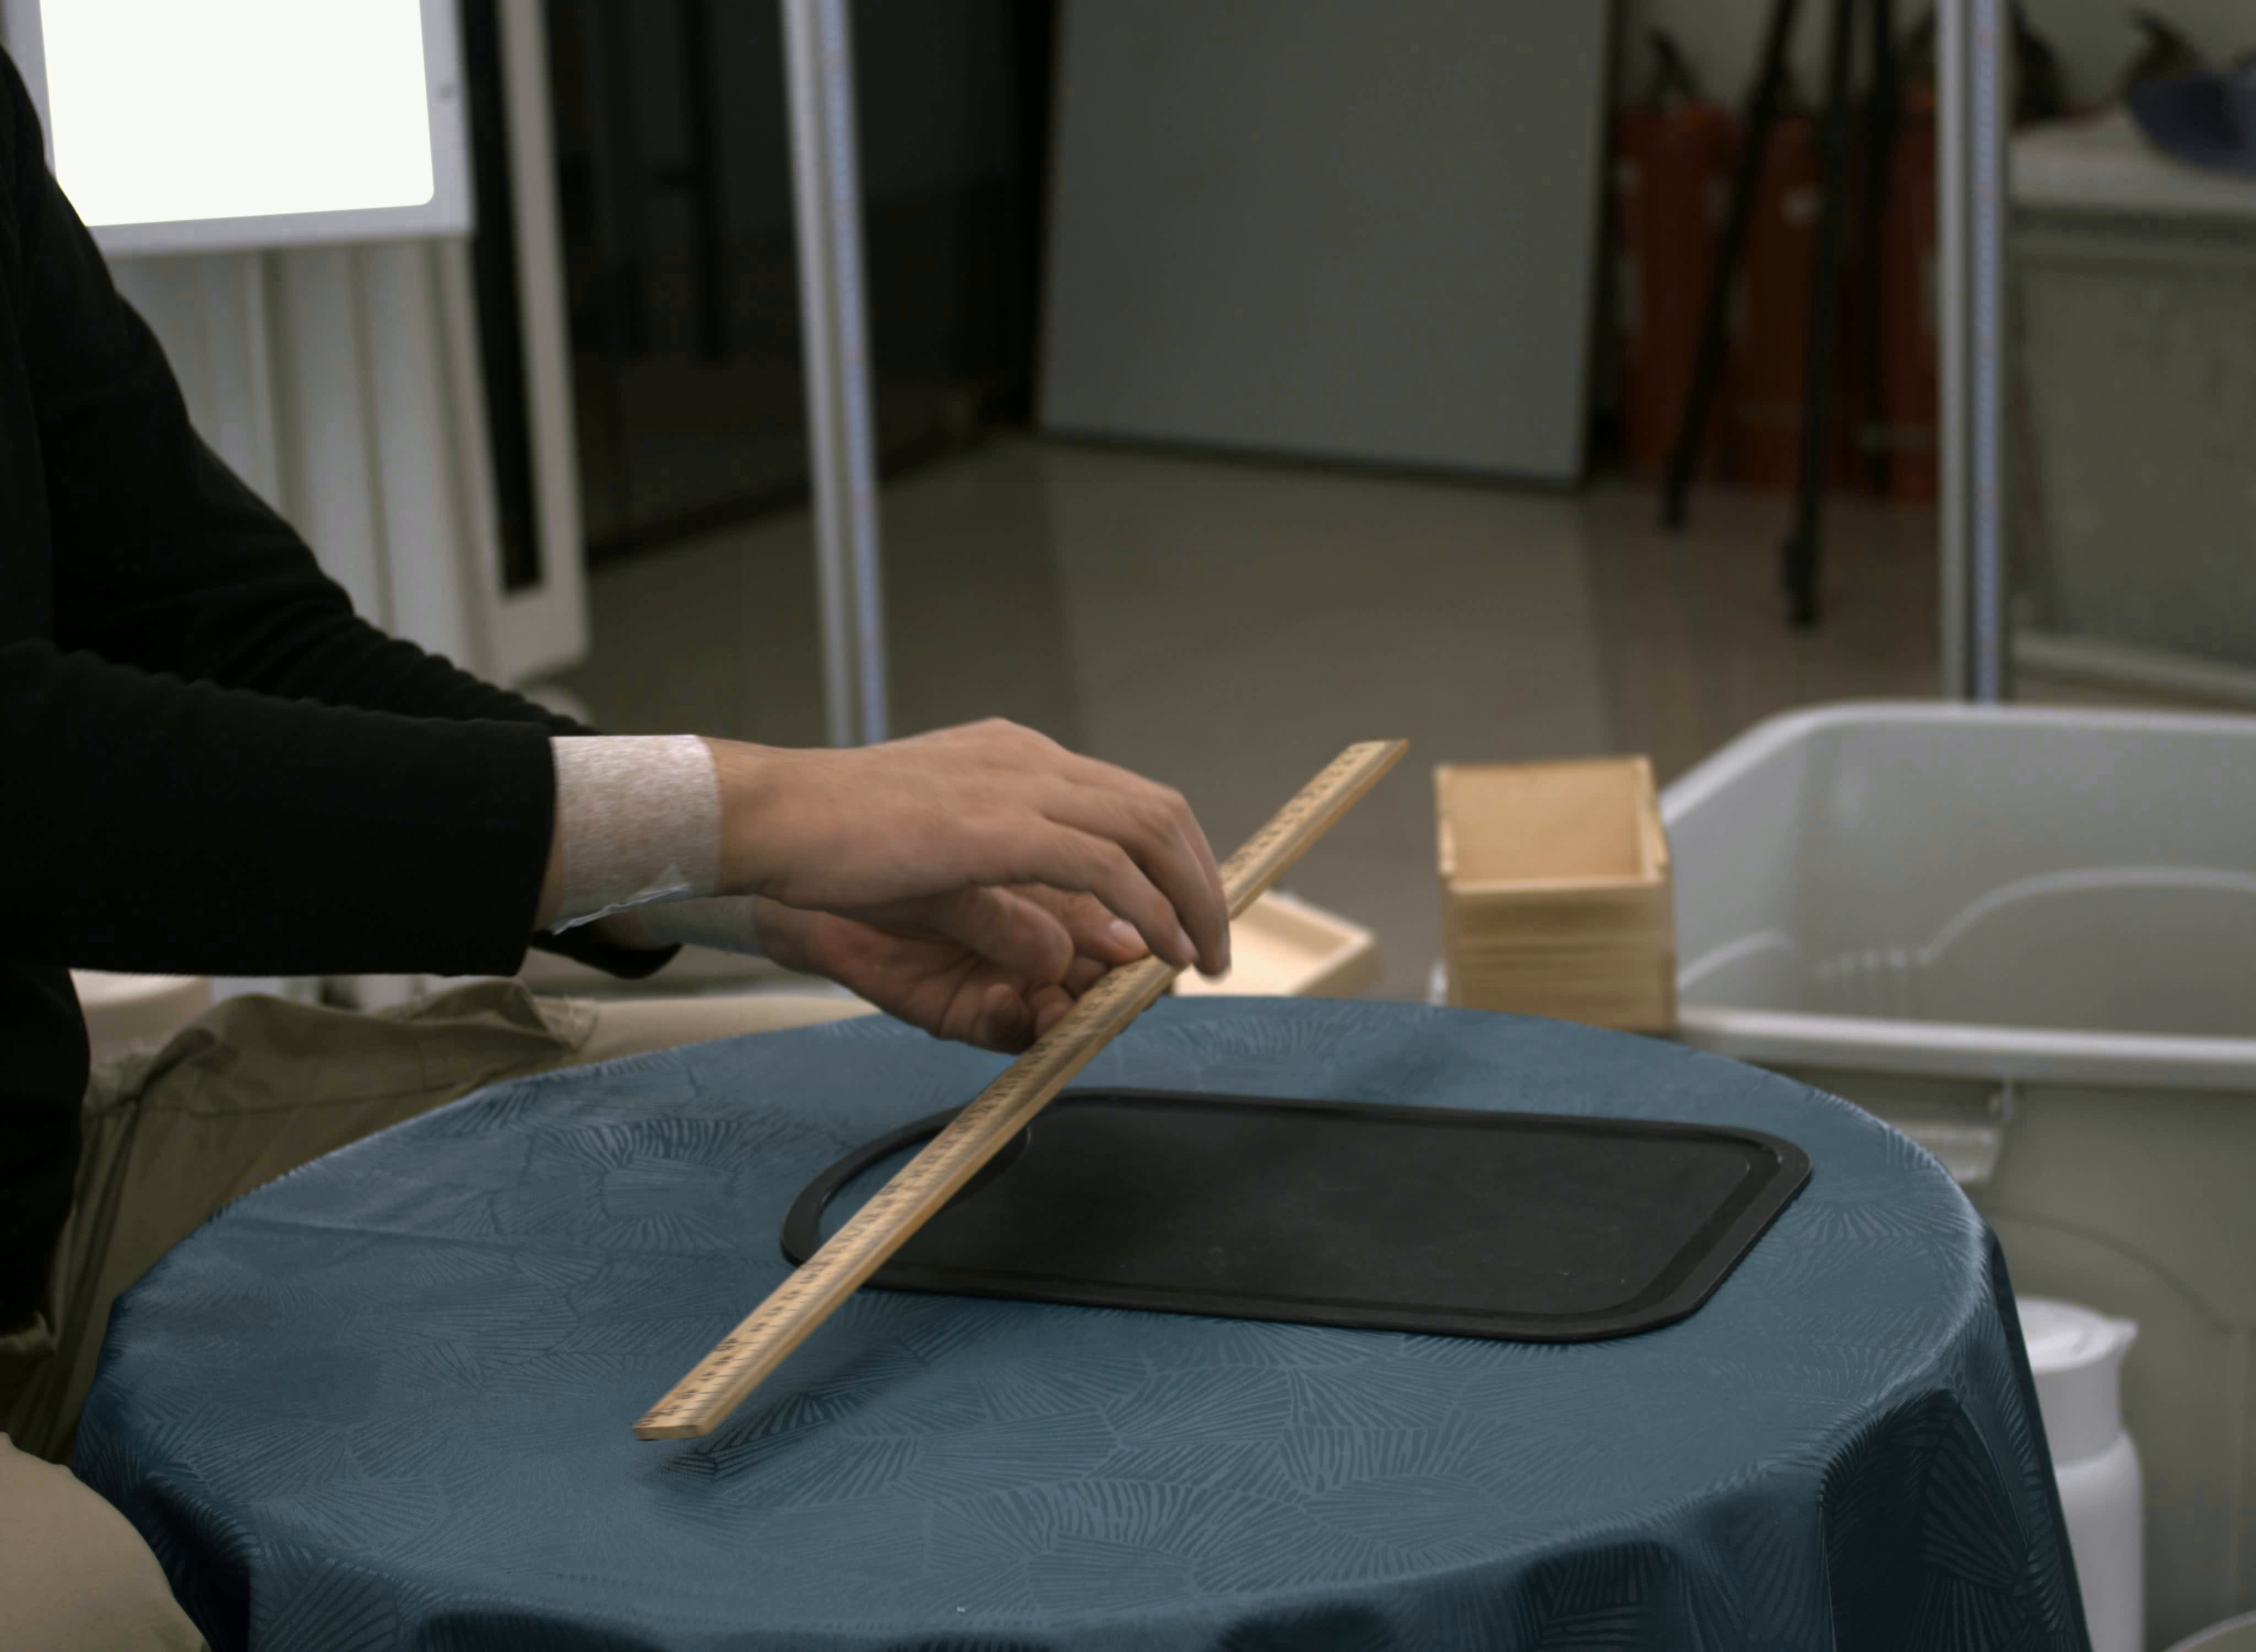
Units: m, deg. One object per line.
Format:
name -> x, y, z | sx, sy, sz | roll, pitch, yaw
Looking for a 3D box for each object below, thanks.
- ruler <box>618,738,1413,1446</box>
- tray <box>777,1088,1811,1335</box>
ruler -> -0.023, 0.073, 1.733 | 0.027, 0.006, 0.495 | -12, 18, 34
tray -> 0.048, 0.120, 1.740 | 0.325, 0.010, 0.208 | 2, 15, 24
